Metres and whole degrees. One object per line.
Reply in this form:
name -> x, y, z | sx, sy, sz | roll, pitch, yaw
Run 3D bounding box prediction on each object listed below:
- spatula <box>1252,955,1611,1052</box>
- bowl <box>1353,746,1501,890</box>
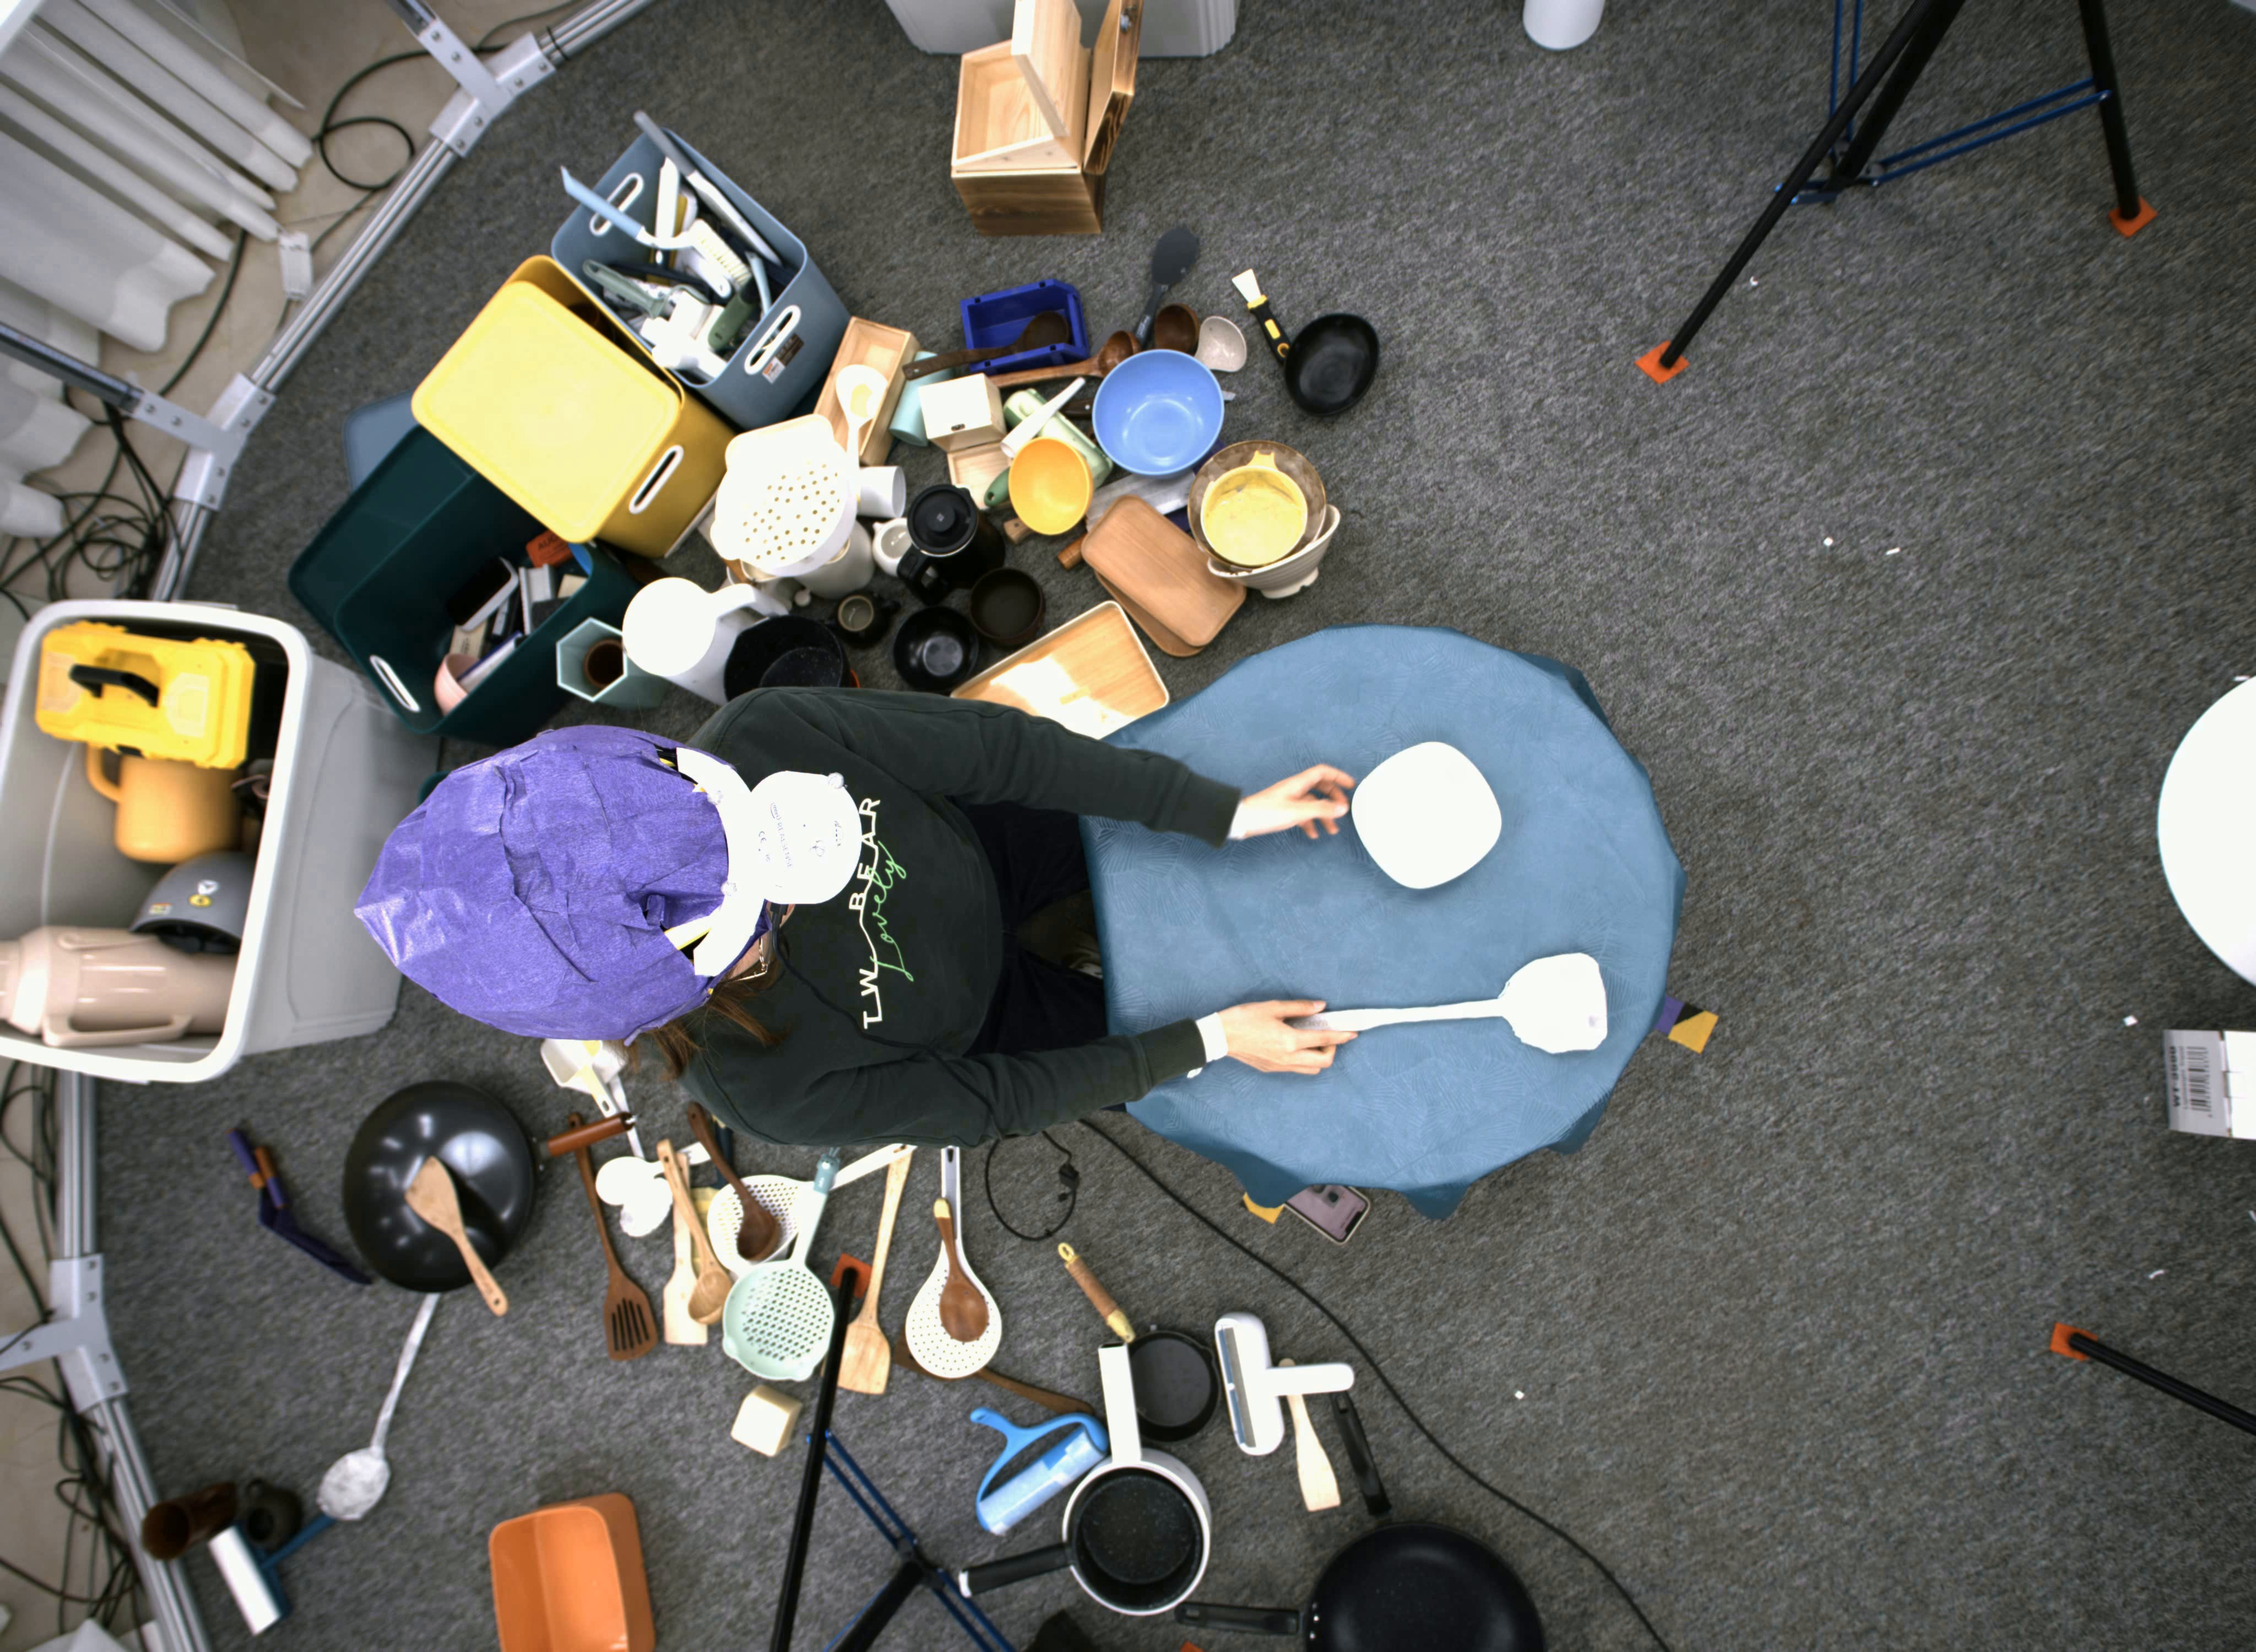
spatula -> 0.308, 0.191, 1.430 | 0.366, 0.045, 0.098 | -5, 85, 10
bowl -> 0.309, -0.007, 1.436 | 0.152, 0.059, 0.150 | -1, 85, 8
